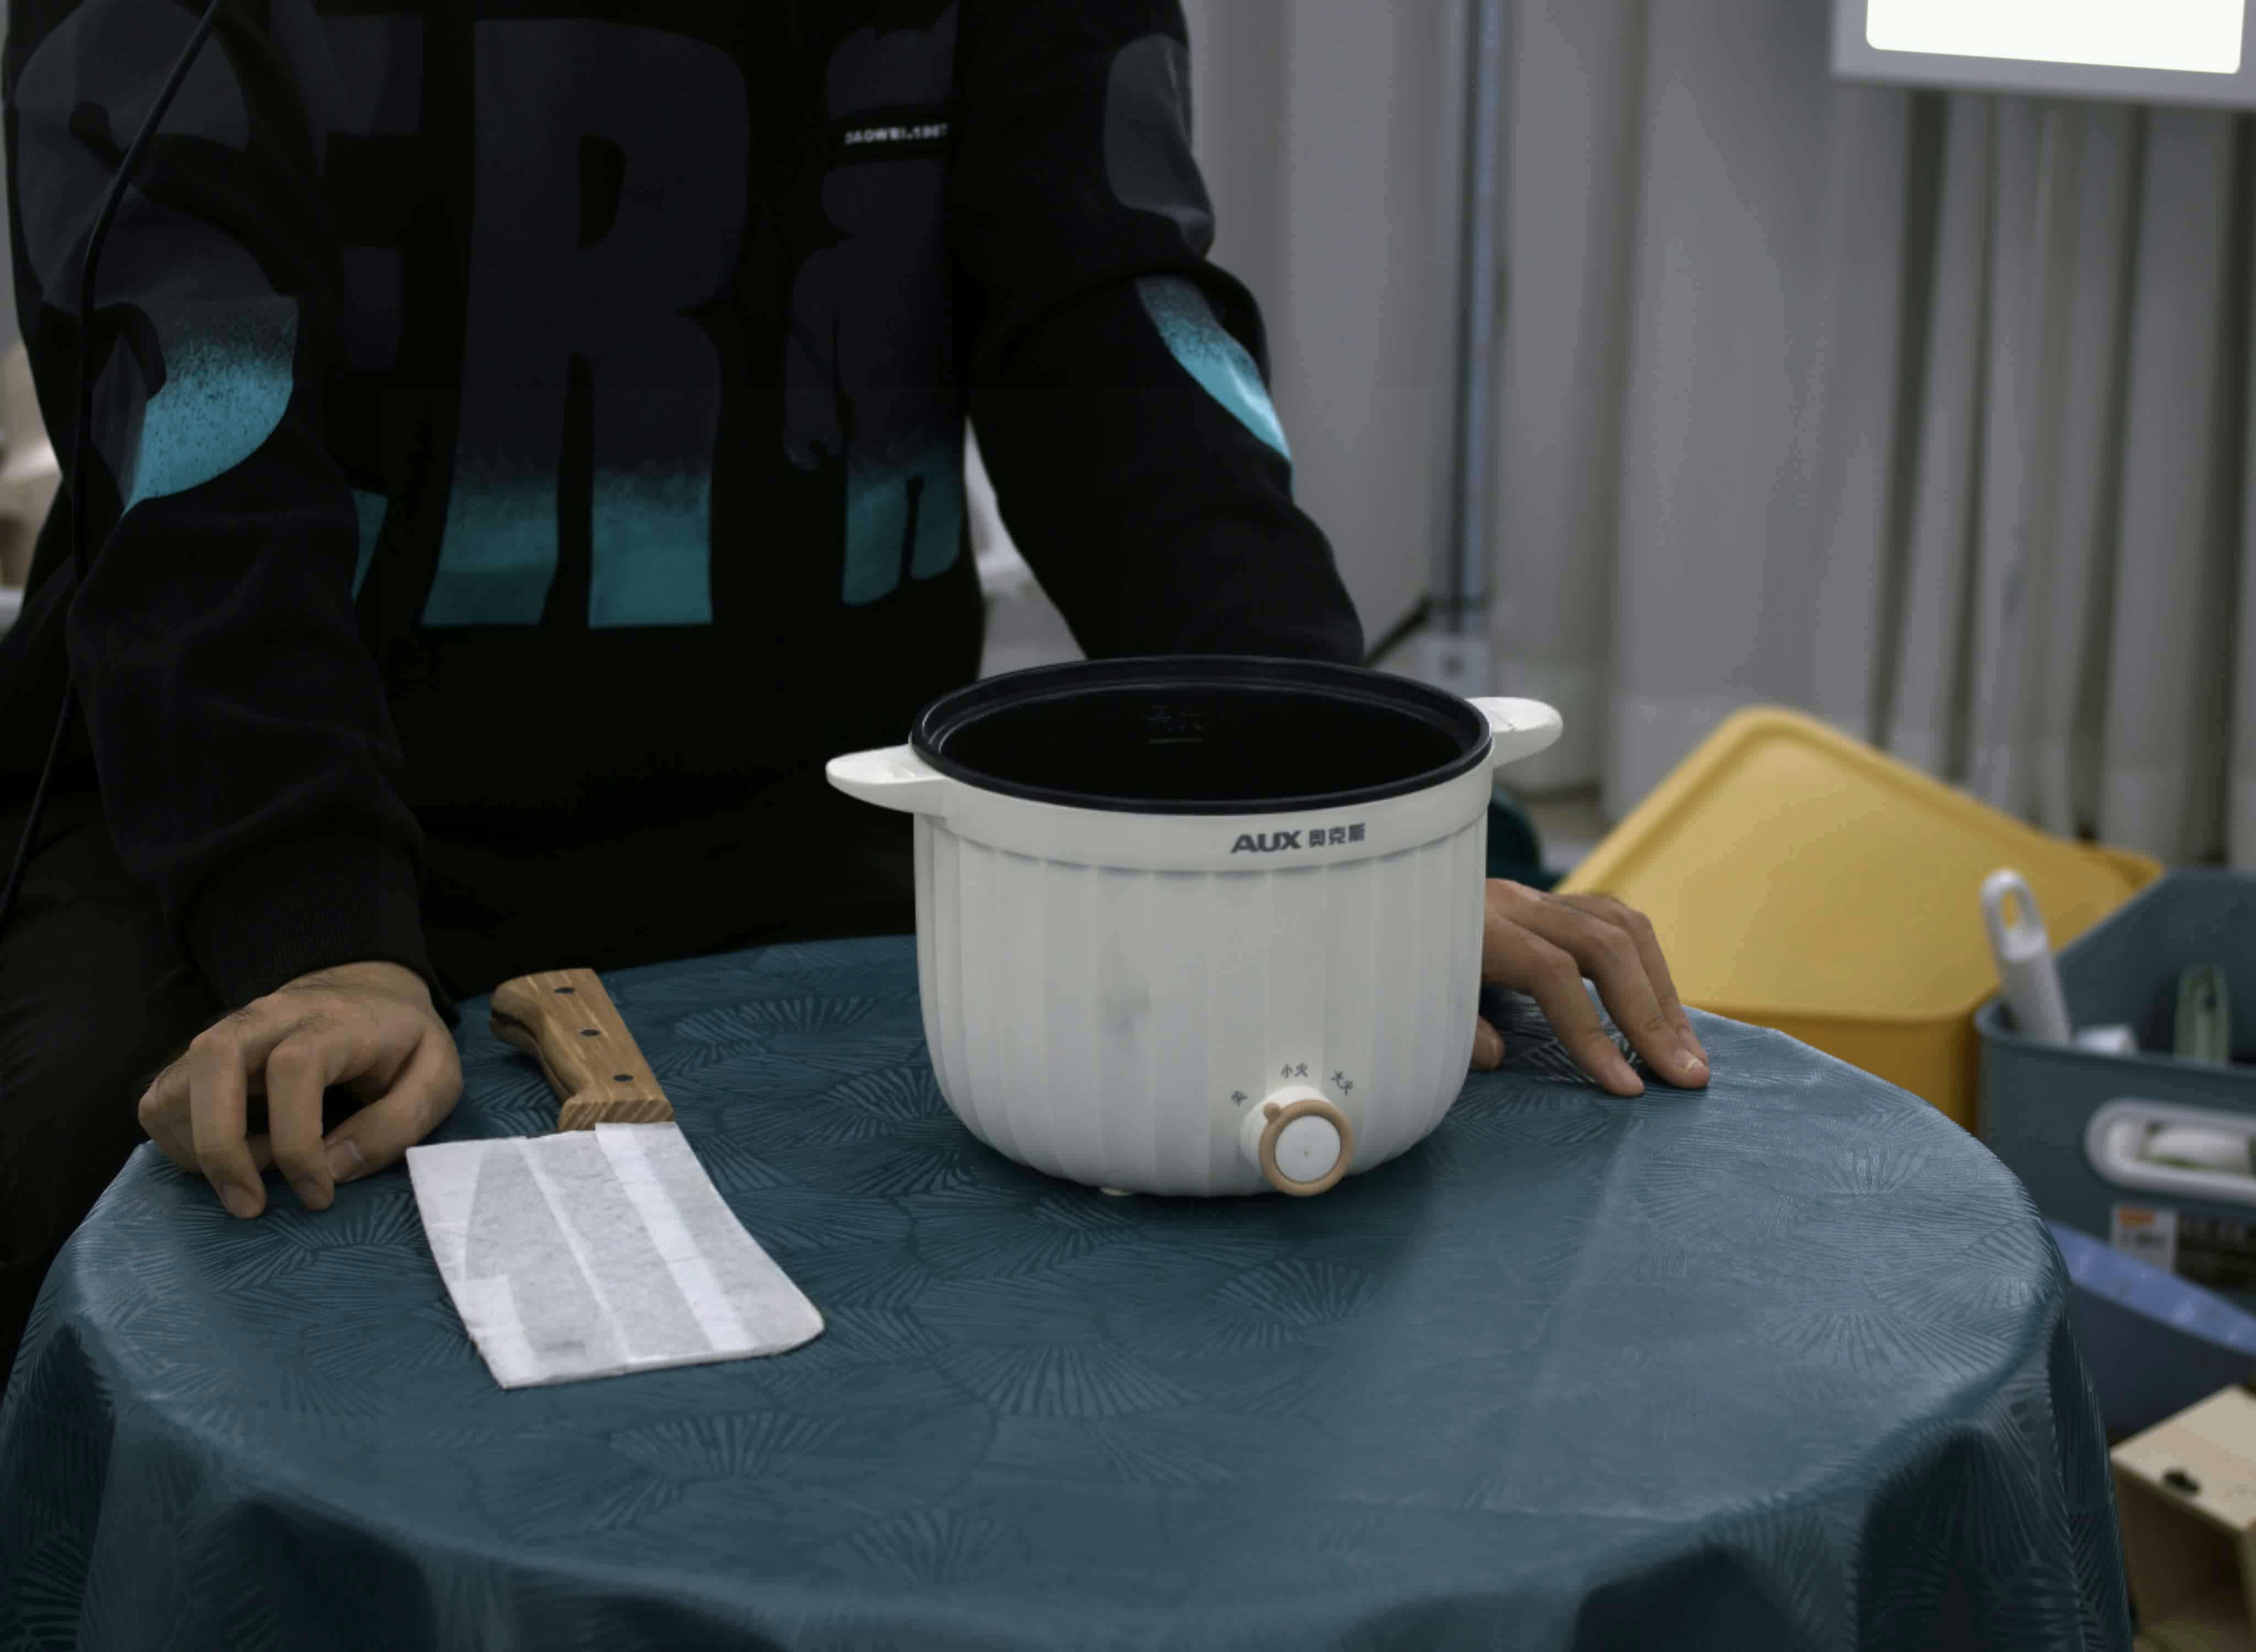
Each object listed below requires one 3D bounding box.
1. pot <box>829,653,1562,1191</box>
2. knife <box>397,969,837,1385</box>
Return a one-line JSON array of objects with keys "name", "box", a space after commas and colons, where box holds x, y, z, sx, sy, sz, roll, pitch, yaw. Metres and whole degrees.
[{"name": "pot", "box": [0.026, 0.033, 1.647, 0.241, 0.144, 0.188, -6, 14, -18]}, {"name": "knife", "box": [-0.165, 0.105, 1.611, 0.114, 0.022, 0.312, -3, 19, -12]}]
